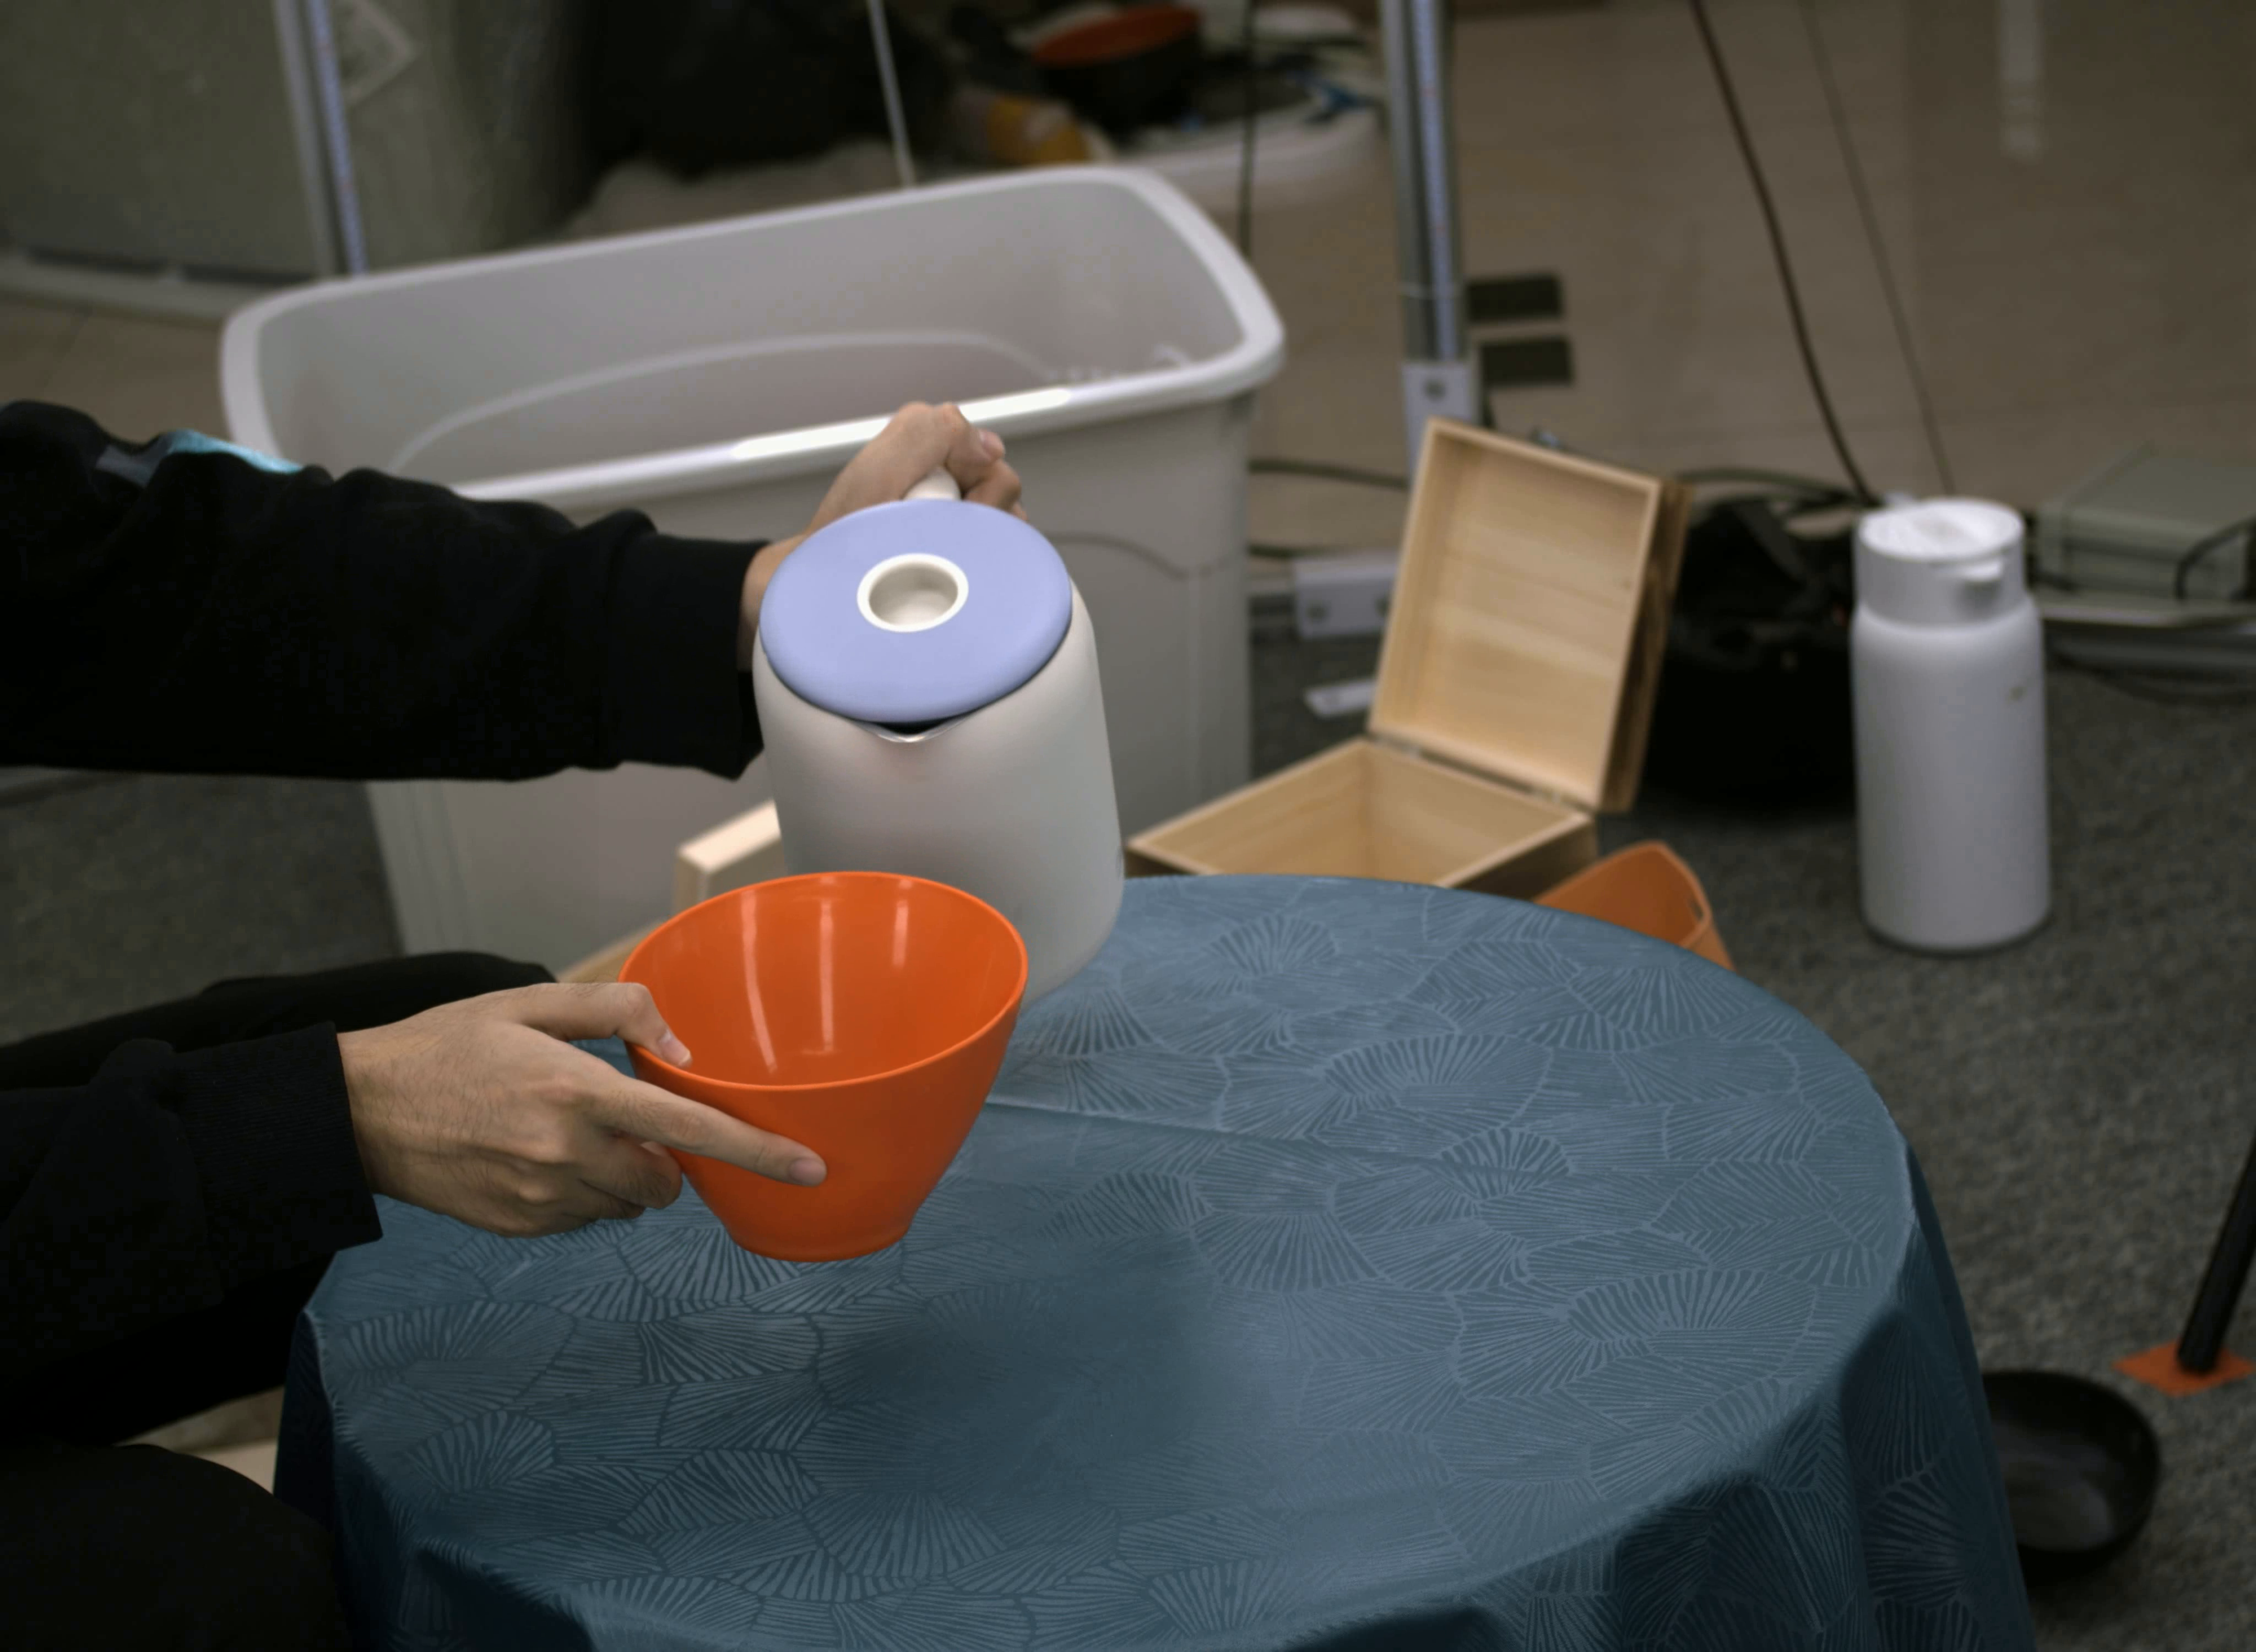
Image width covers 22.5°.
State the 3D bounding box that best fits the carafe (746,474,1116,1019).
[{"bbox_3d":[-0.076,-0.040,2.188,0.132,0.186,0.187,-4,43,1],"label":"carafe"}]

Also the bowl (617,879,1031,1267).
[{"bbox_3d":[-0.107,0.093,2.023,0.148,0.106,0.146,0,20,0],"label":"bowl"}]
